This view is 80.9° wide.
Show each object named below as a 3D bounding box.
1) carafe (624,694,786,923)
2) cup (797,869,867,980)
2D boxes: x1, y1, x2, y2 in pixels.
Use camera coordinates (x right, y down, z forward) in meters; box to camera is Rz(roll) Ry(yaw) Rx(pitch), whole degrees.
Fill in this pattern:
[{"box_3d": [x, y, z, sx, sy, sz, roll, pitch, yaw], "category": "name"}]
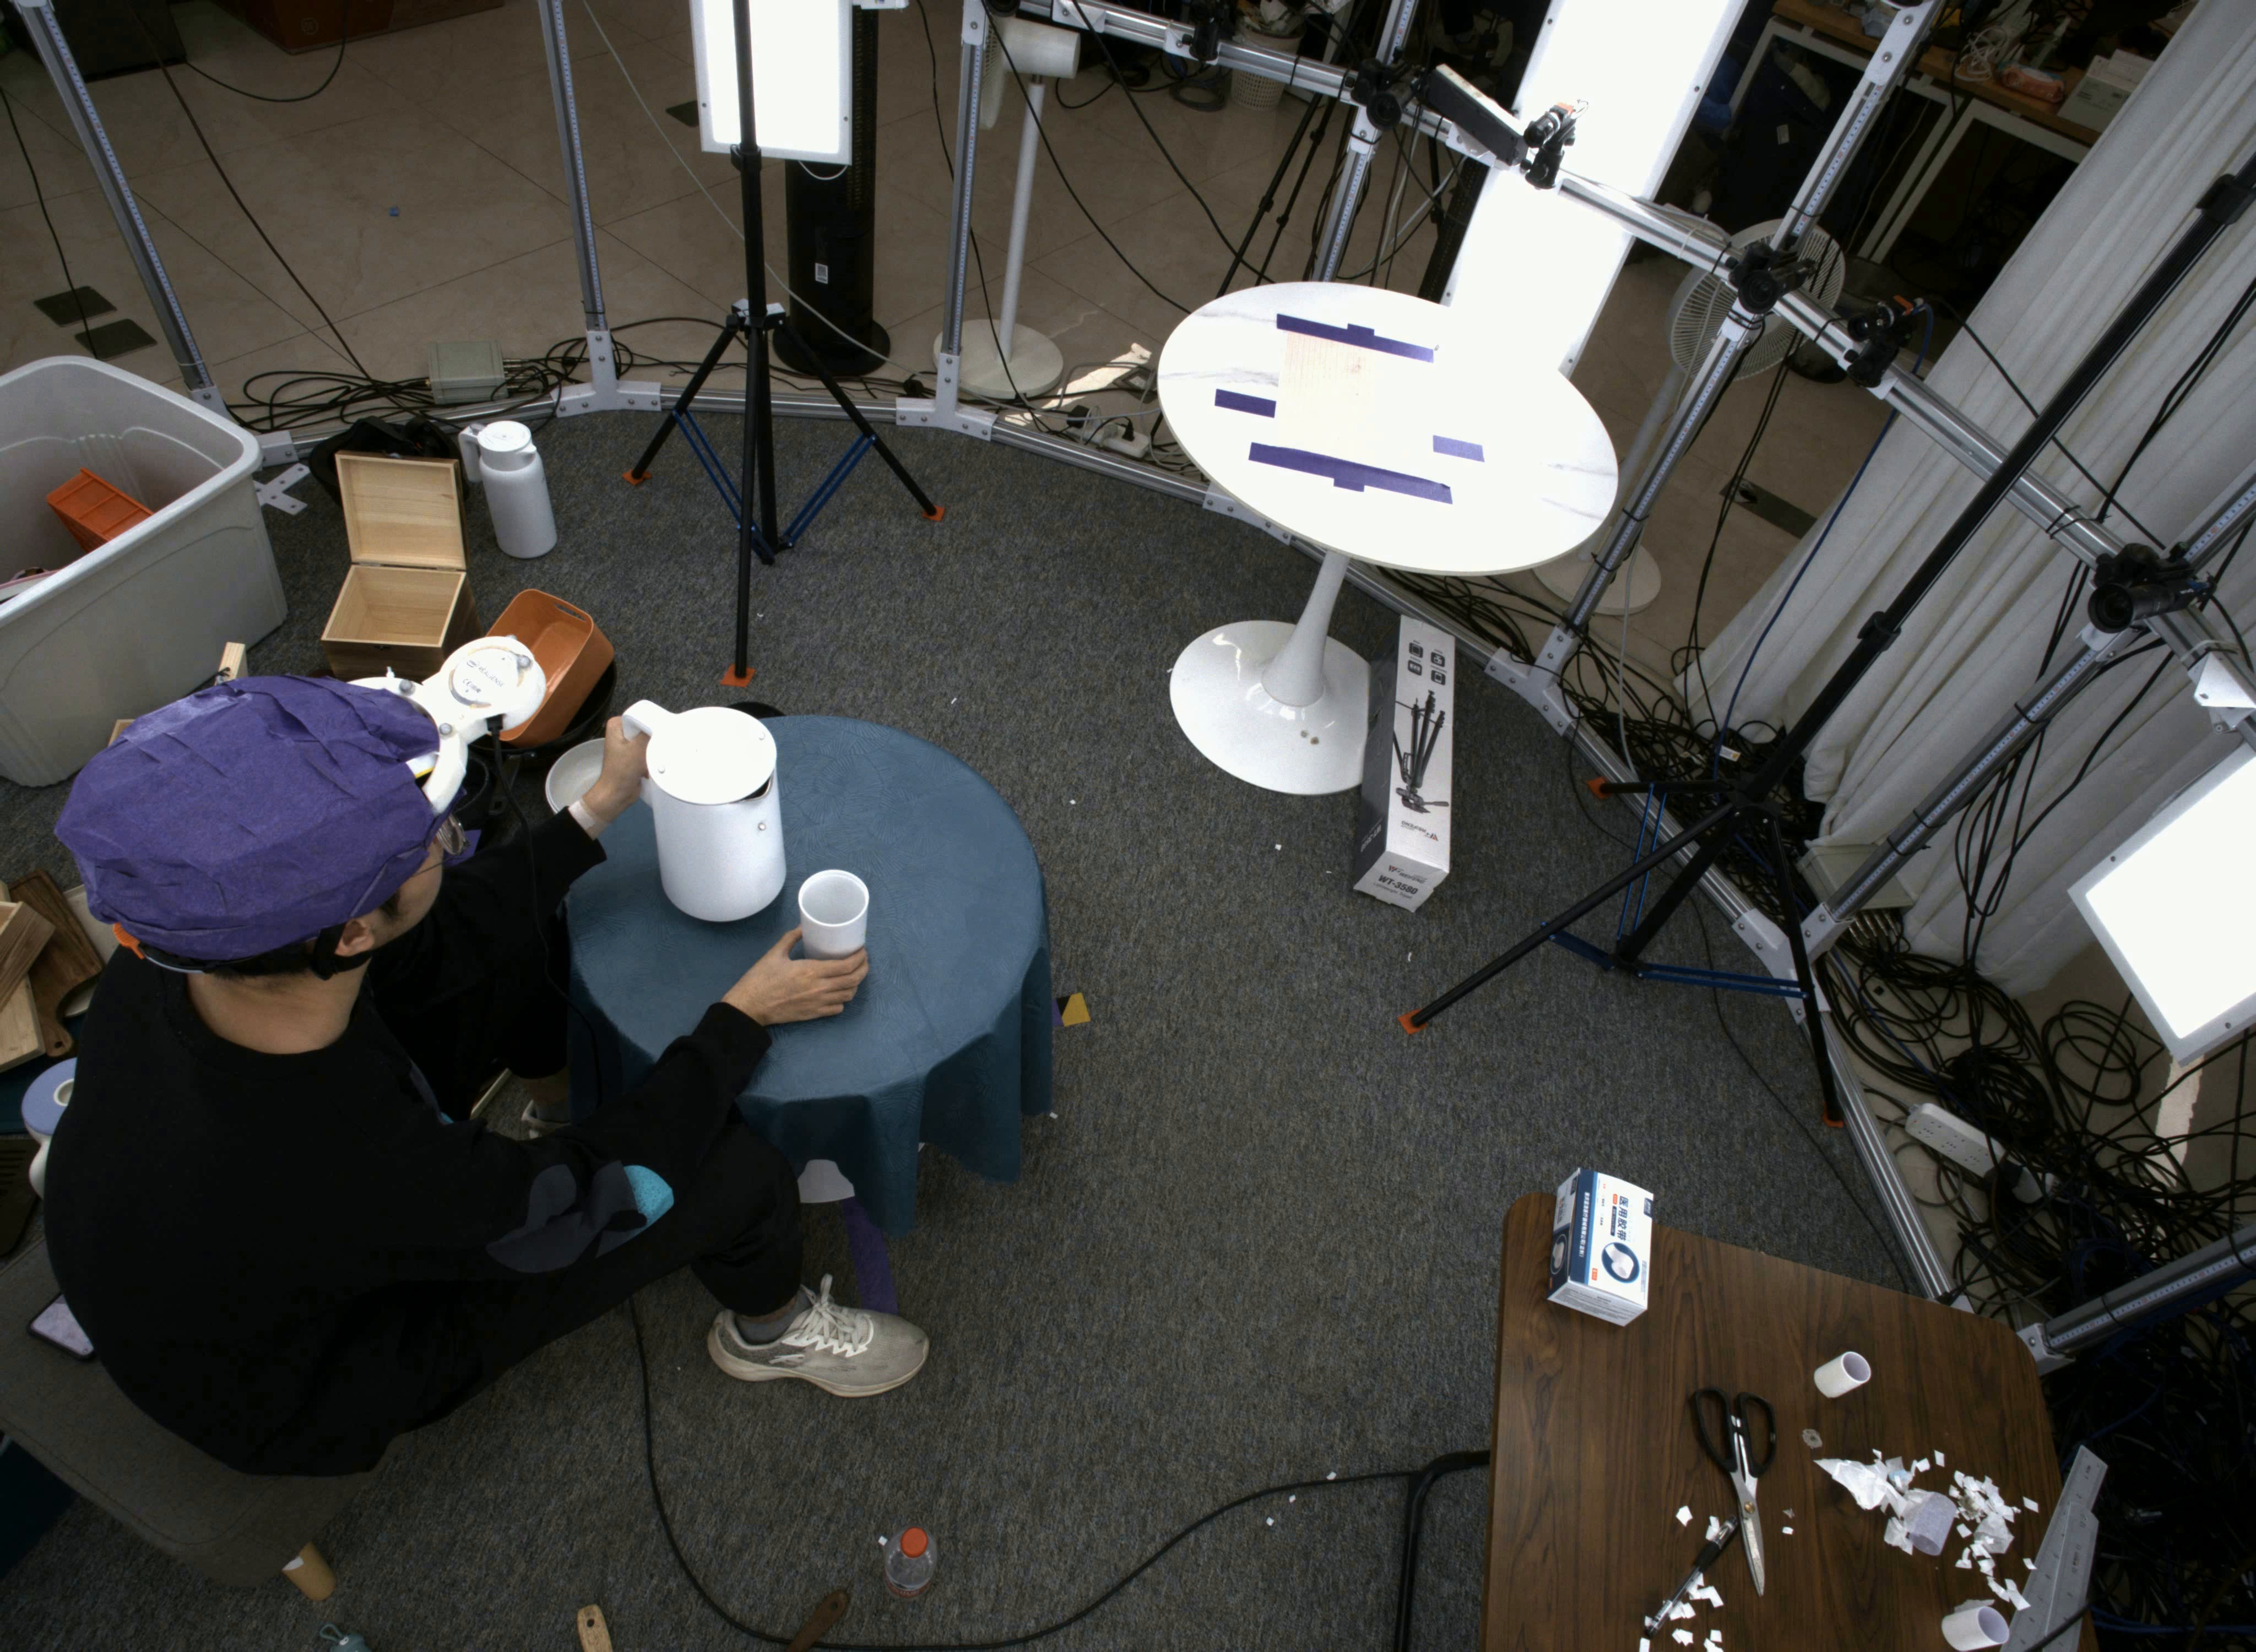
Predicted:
[{"box_3d": [-0.510, -0.030, 1.543, 0.209, 0.245, 0.152, 32, 52, 11], "category": "carafe"}, {"box_3d": [-0.358, 0.121, 1.578, 0.081, 0.128, 0.080, 6, 52, -7], "category": "cup"}]
